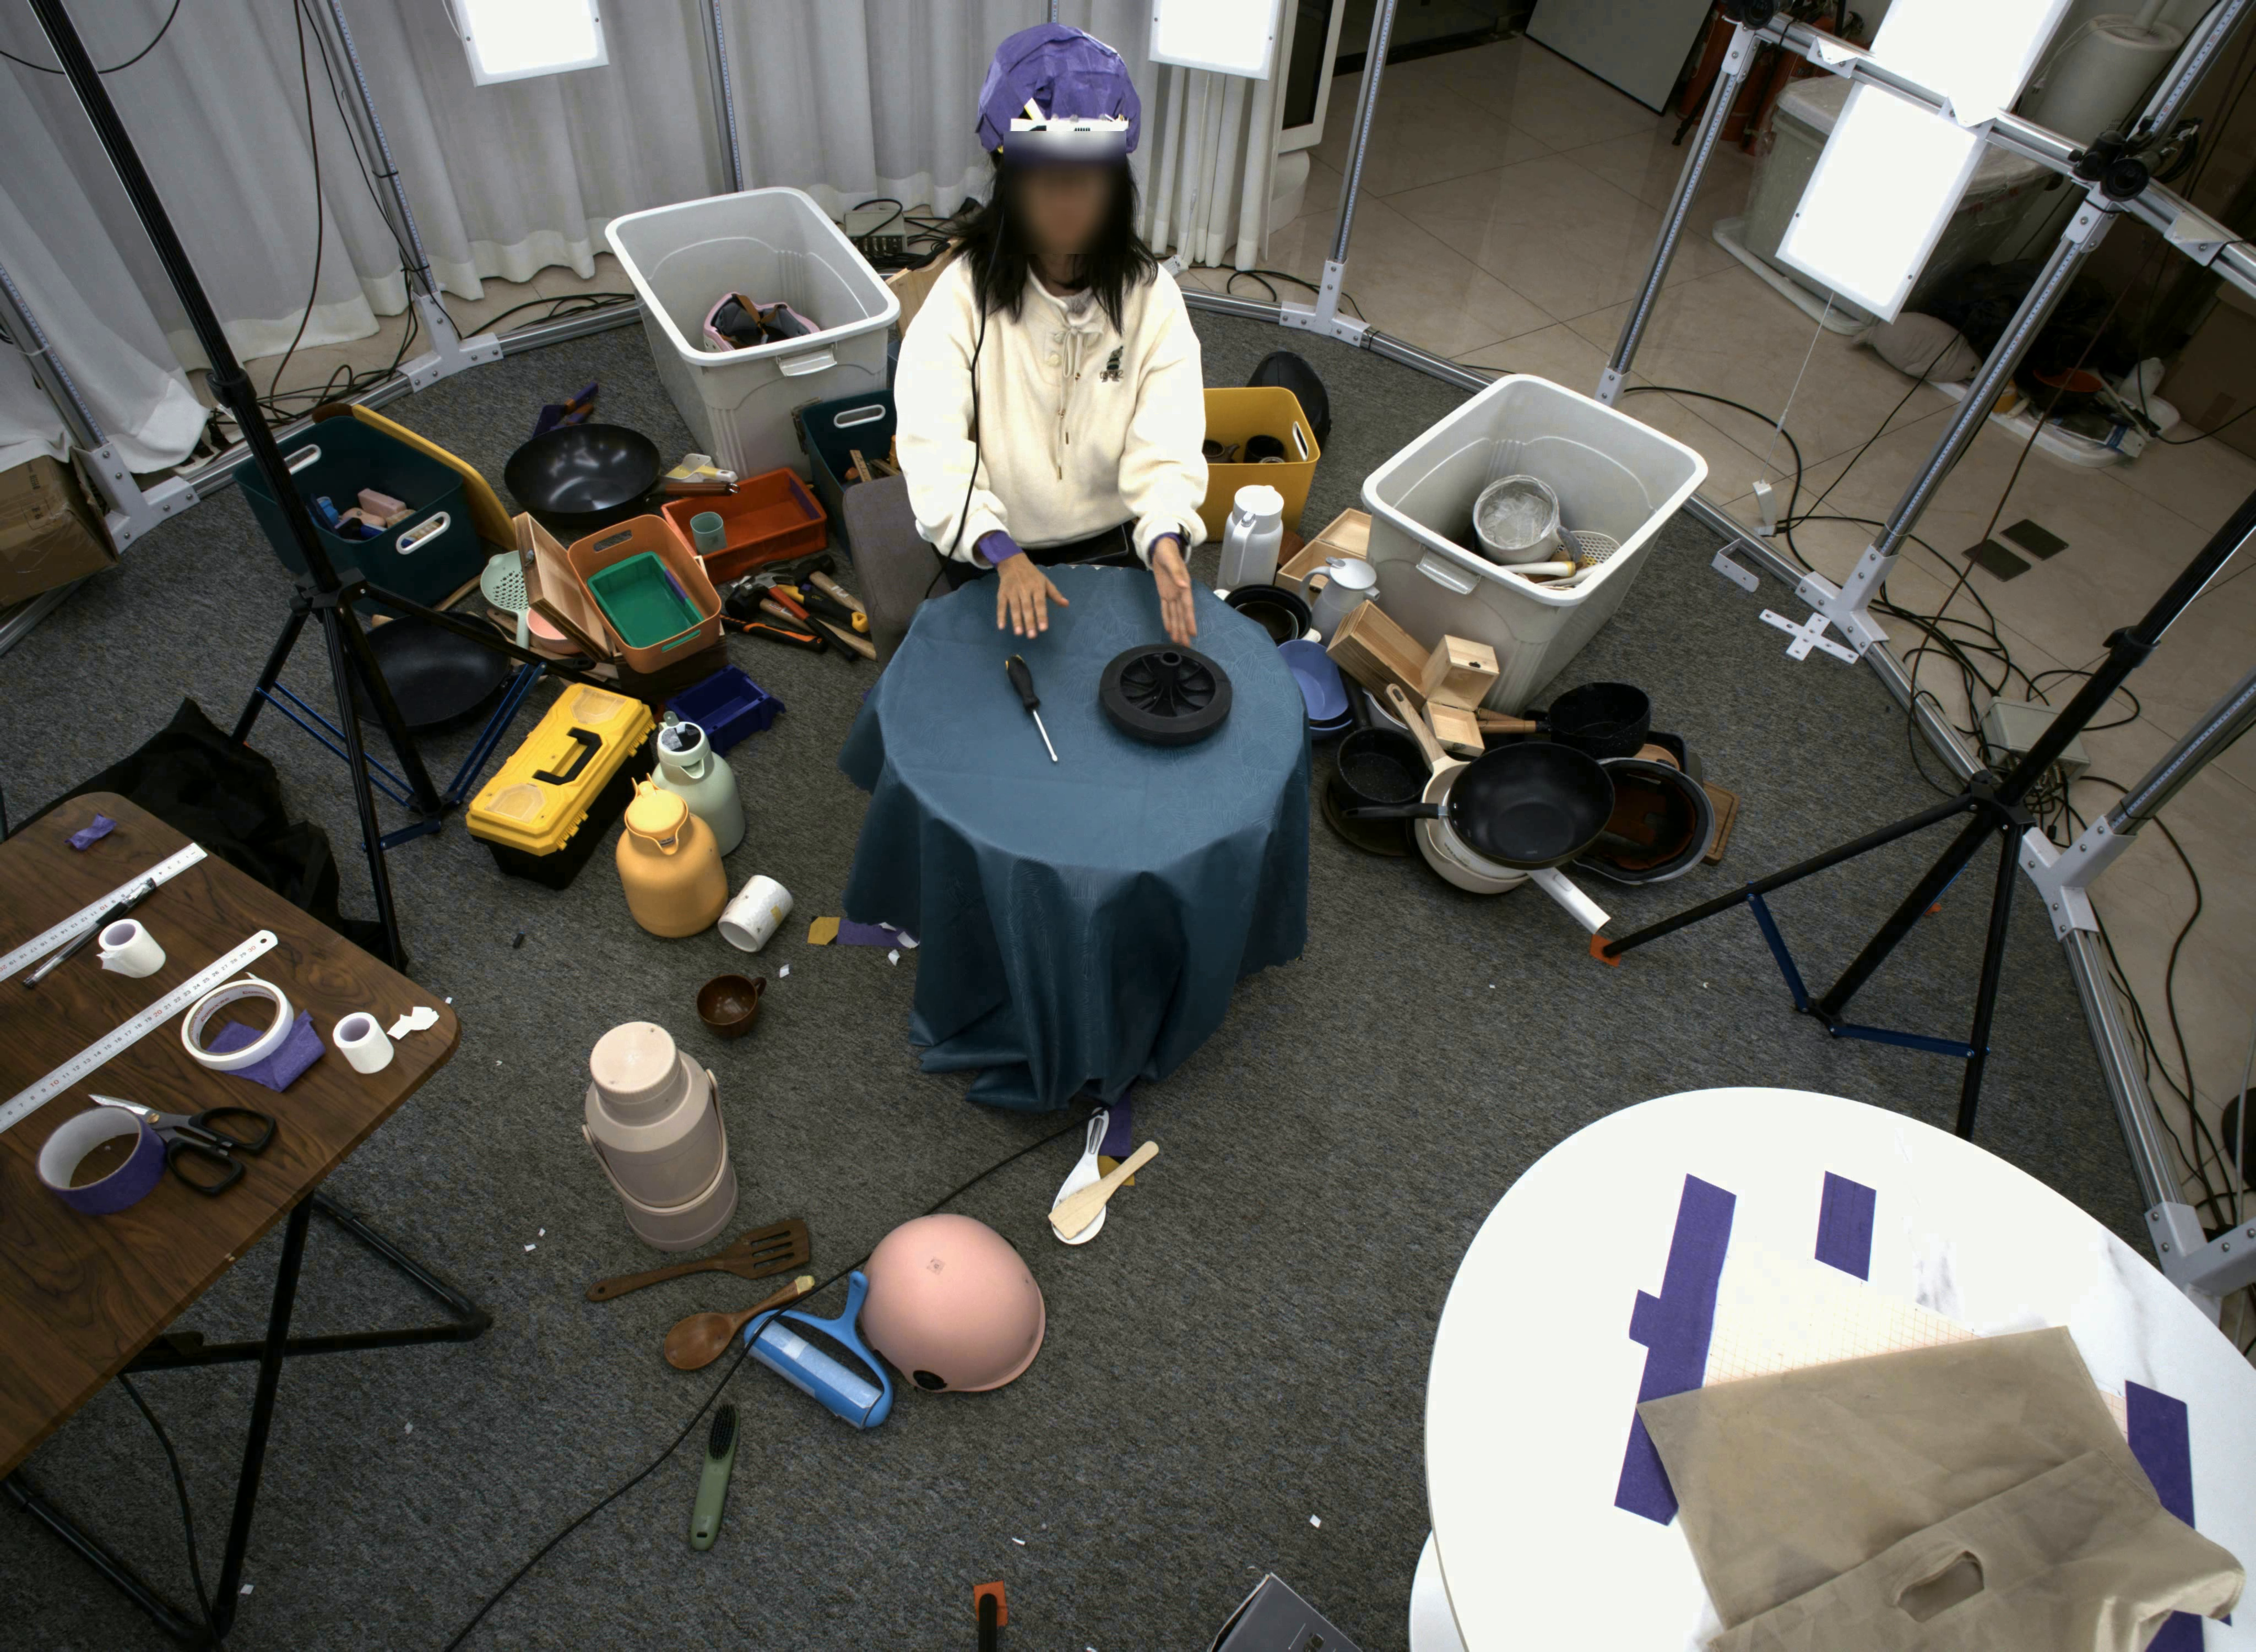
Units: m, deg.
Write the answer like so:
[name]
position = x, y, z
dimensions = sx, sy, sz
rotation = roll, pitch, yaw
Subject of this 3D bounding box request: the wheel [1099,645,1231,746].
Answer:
[wheel]
position = 0.054, -0.200, 1.799
dimensions = 0.188, 0.077, 0.193
rotation = 21, 51, 14

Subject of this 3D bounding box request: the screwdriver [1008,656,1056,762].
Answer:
[screwdriver]
position = -0.128, -0.165, 1.789
dimensions = 0.031, 0.031, 0.201
rotation = -15, 54, -17
